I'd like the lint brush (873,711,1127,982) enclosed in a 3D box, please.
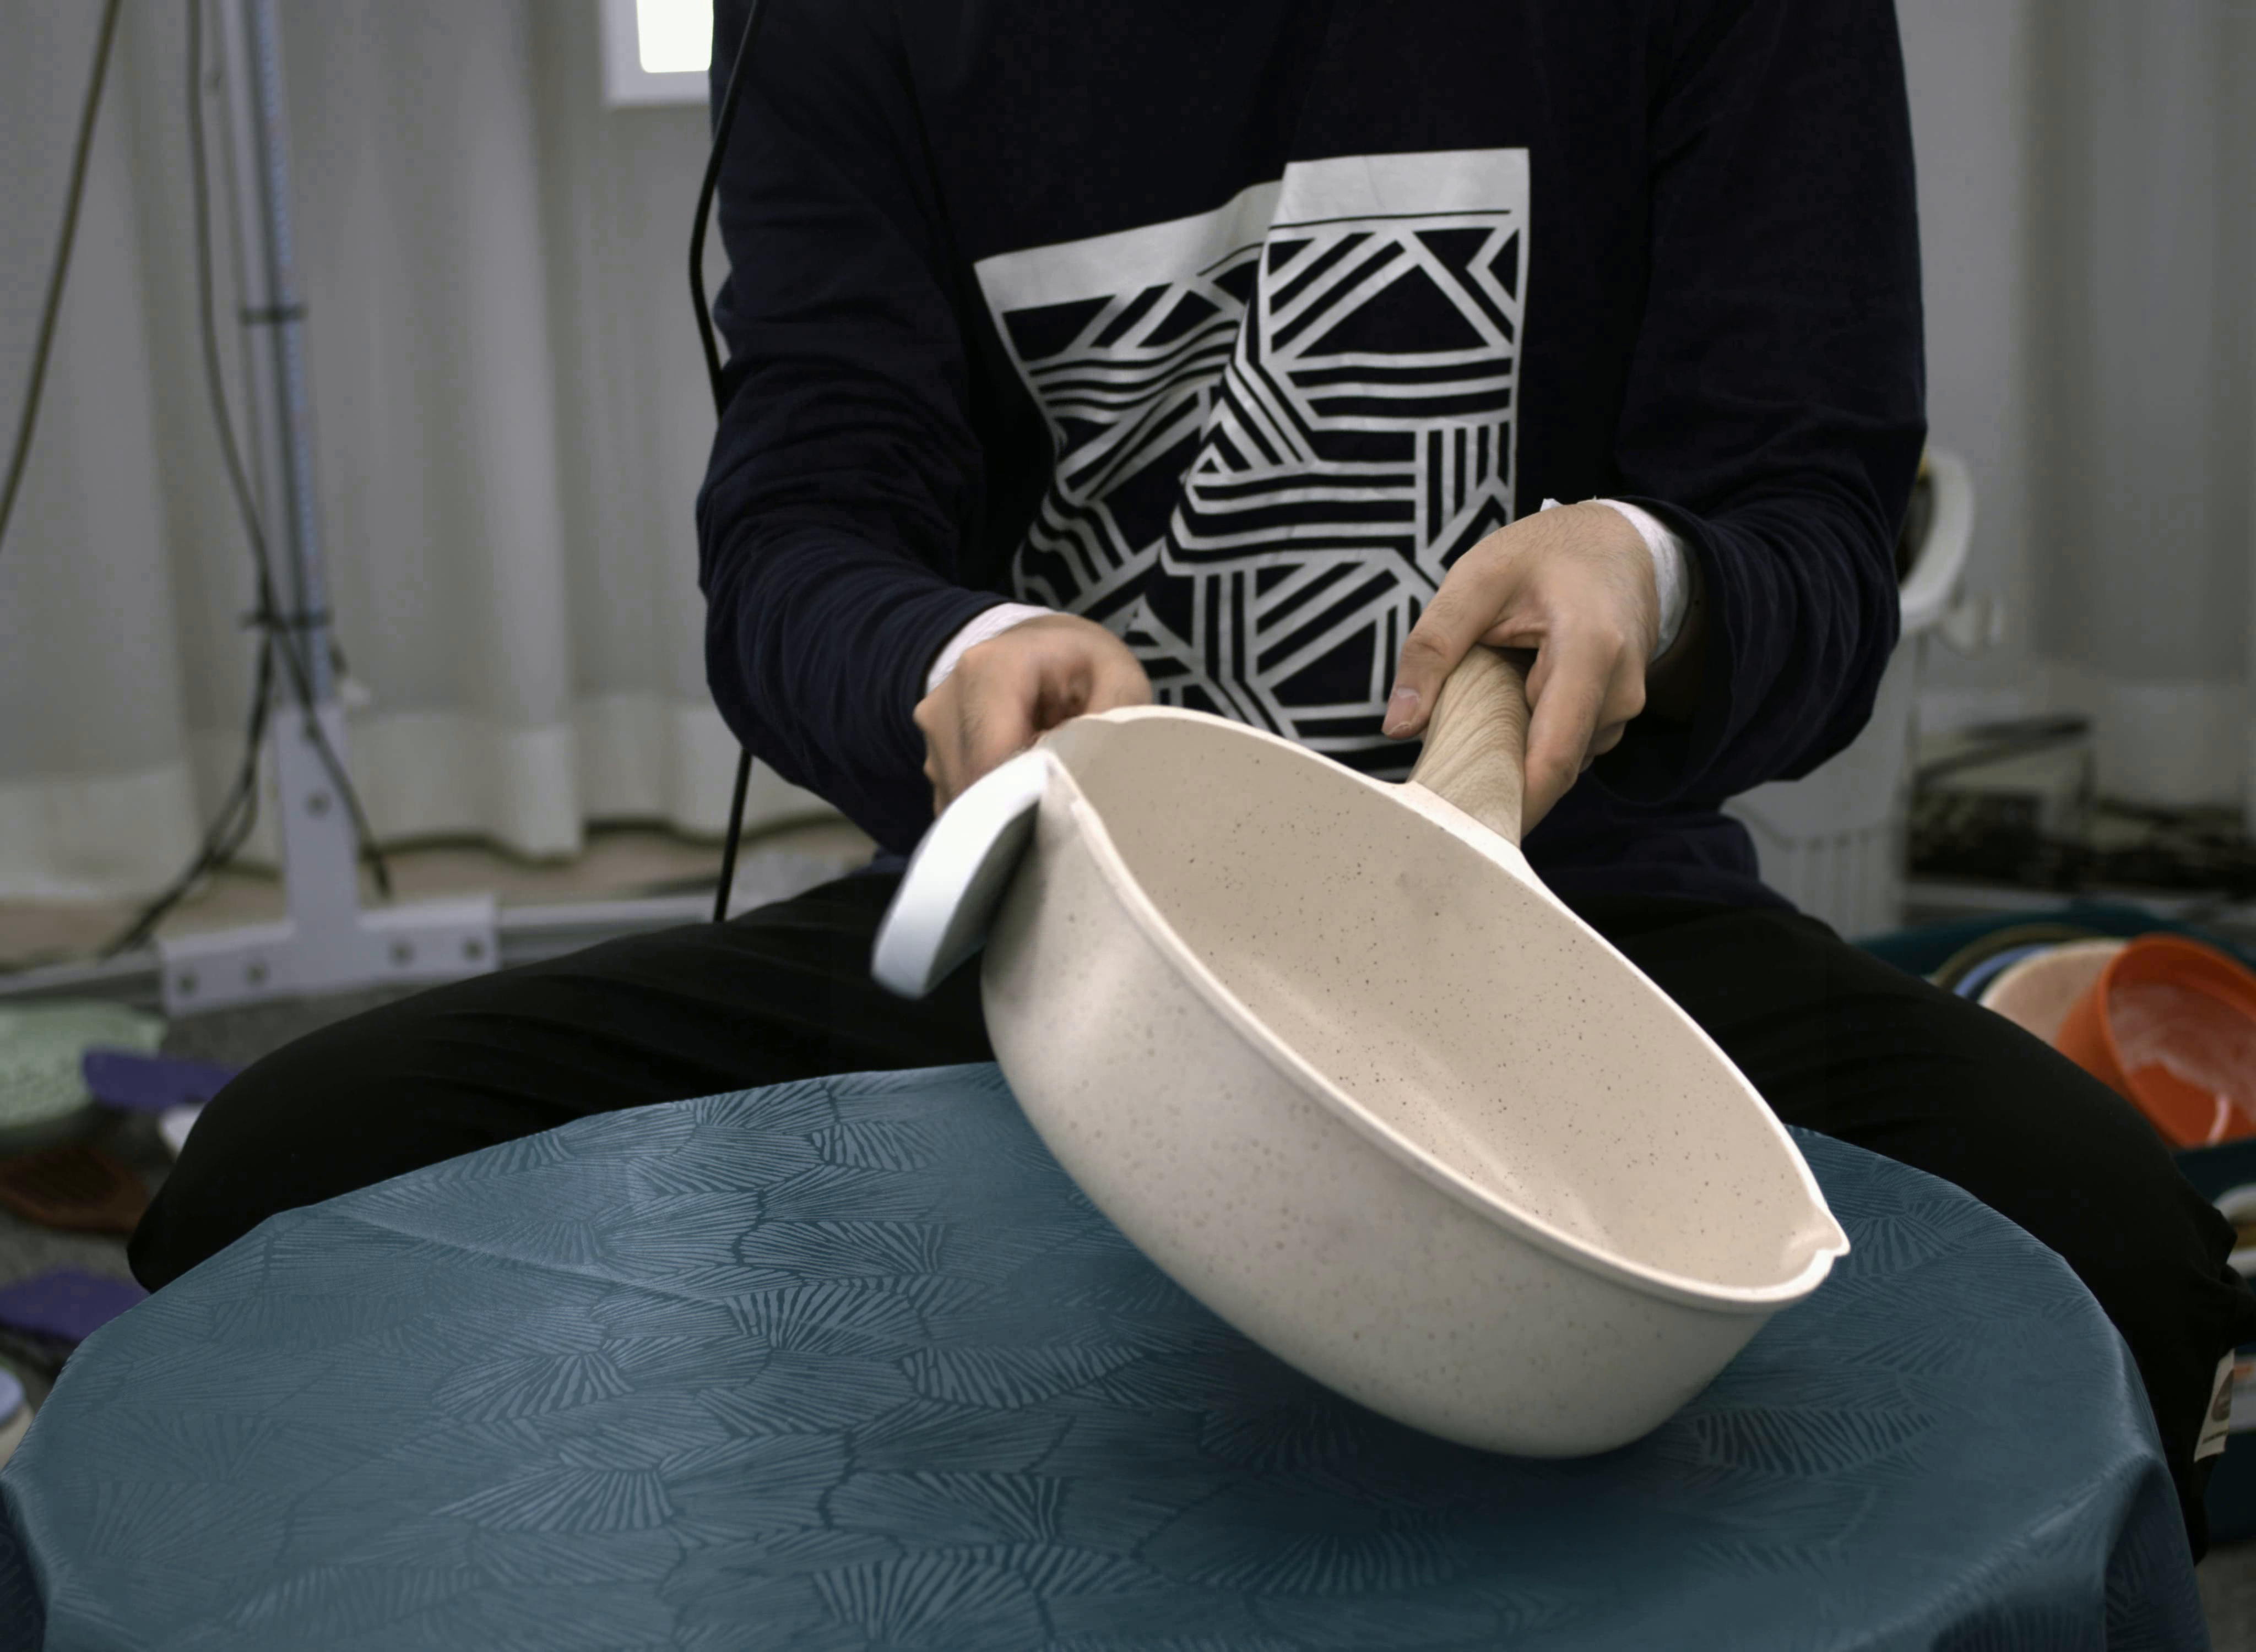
[{"bbox_3d":[-0.032,-0.004,1.583,0.021,0.060,0.309,24,10,4],"label":"lint brush"}]

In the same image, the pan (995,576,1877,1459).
[{"bbox_3d":[0.084,0.040,1.586,0.262,0.101,0.438,29,20,-6],"label":"pan"}]
